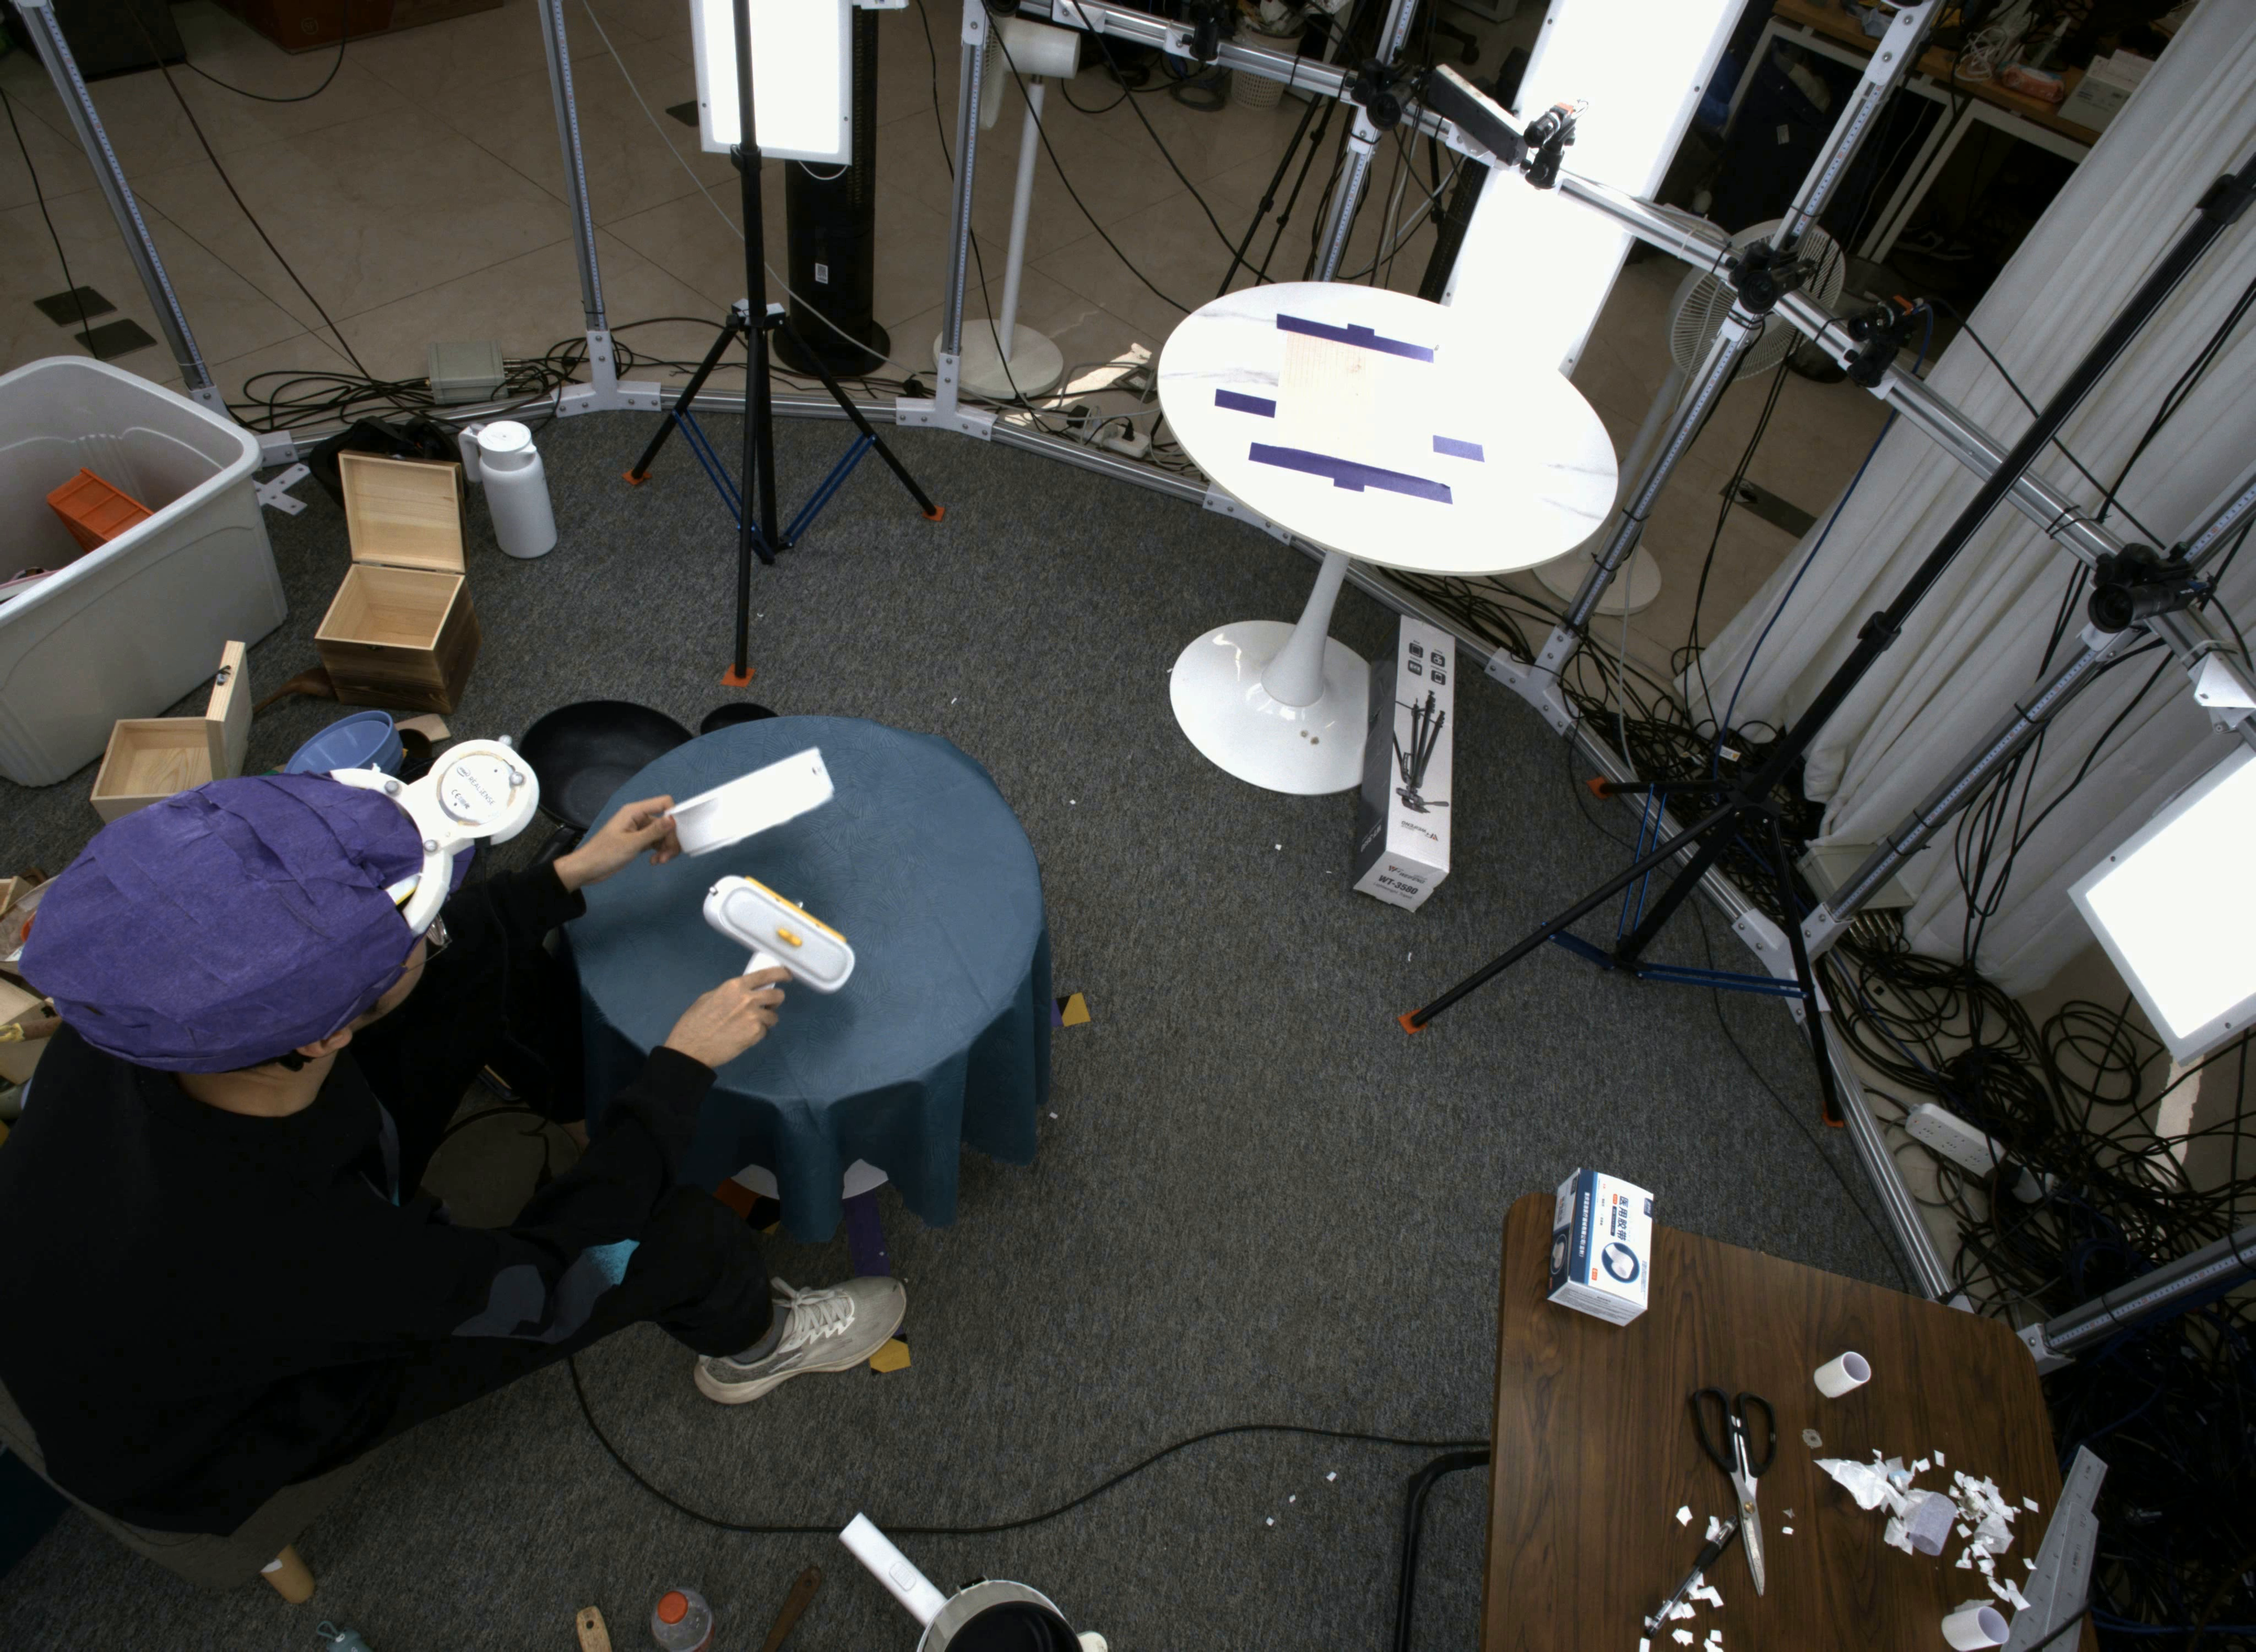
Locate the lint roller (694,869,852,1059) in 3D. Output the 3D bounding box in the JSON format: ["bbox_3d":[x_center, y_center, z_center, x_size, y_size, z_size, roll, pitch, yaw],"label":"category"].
[{"bbox_3d":[-0.422,0.168,1.472,0.199,0.072,0.192,36,65,-35],"label":"lint roller"}]

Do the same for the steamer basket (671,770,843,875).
[{"bbox_3d":[-0.445,-0.005,1.563,0.197,0.071,0.230,-9,15,23],"label":"steamer basket"}]
